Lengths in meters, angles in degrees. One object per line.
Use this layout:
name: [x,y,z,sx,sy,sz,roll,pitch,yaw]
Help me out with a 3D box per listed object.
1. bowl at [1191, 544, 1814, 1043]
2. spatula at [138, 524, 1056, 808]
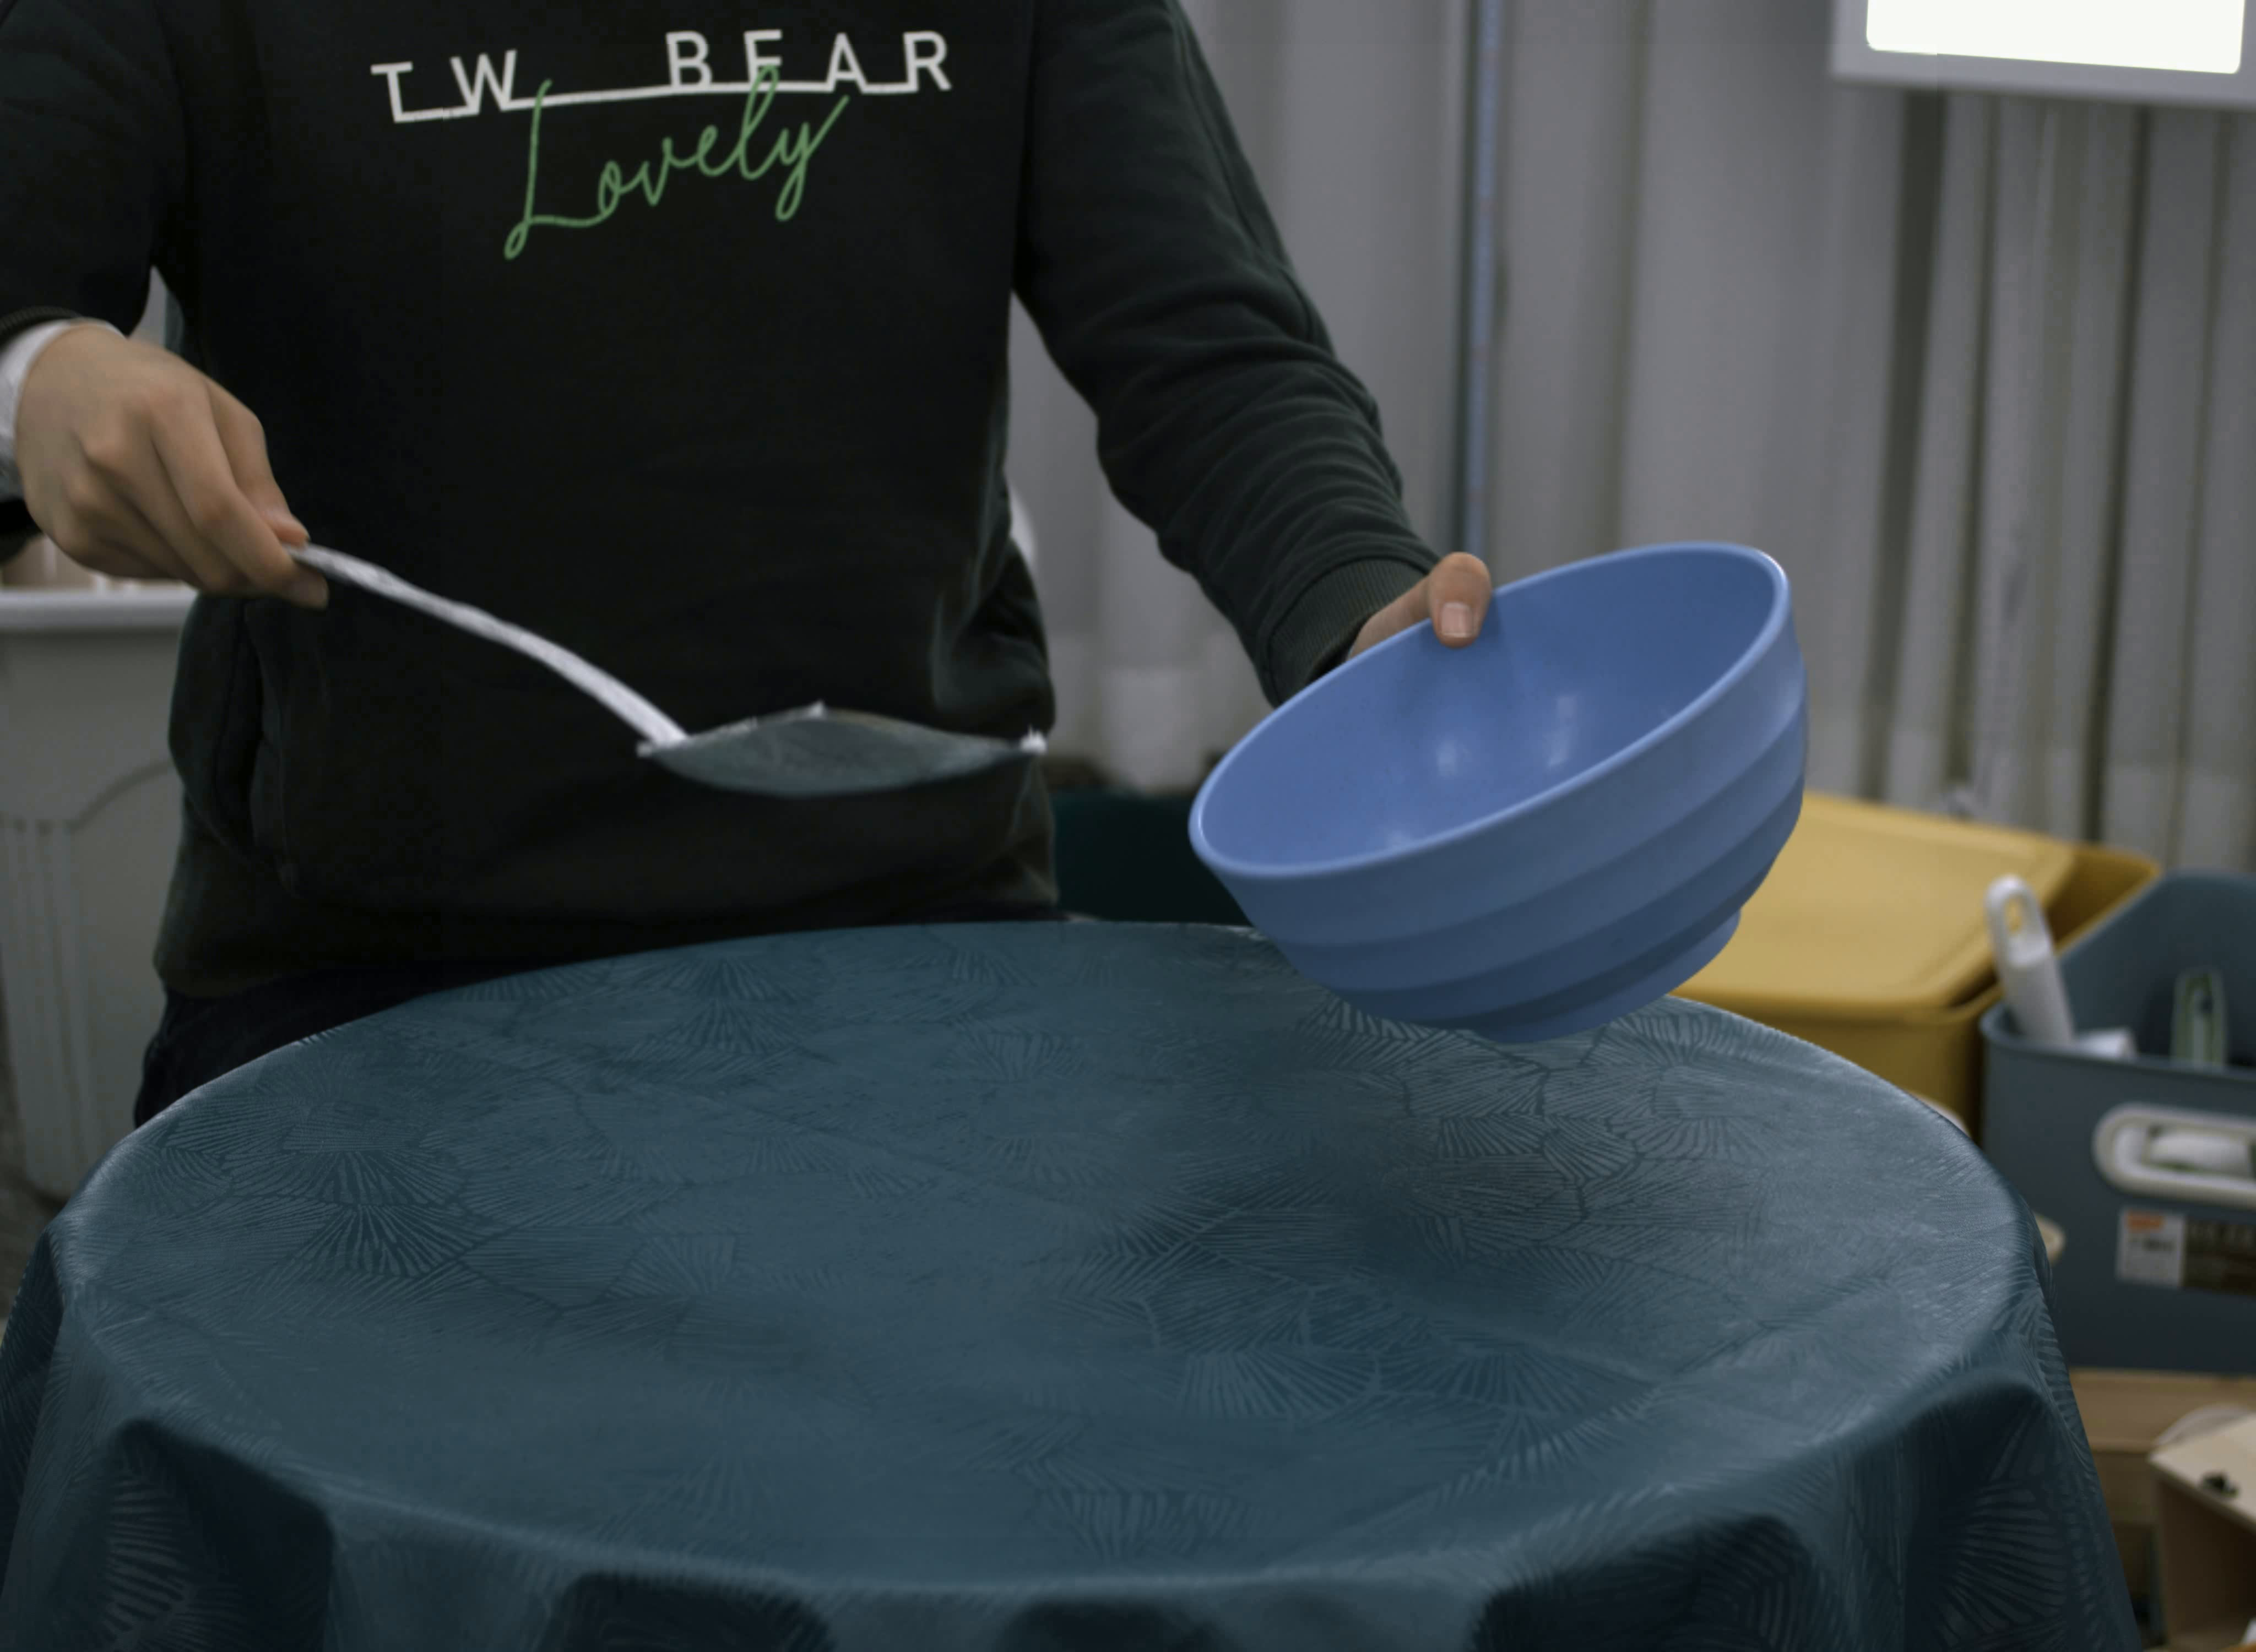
bowl: [0.126,0.002,1.600,0.196,0.096,0.195,-20,20,9]
spatula: [-0.175,-0.056,1.514,0.360,0.045,0.099,23,12,38]
